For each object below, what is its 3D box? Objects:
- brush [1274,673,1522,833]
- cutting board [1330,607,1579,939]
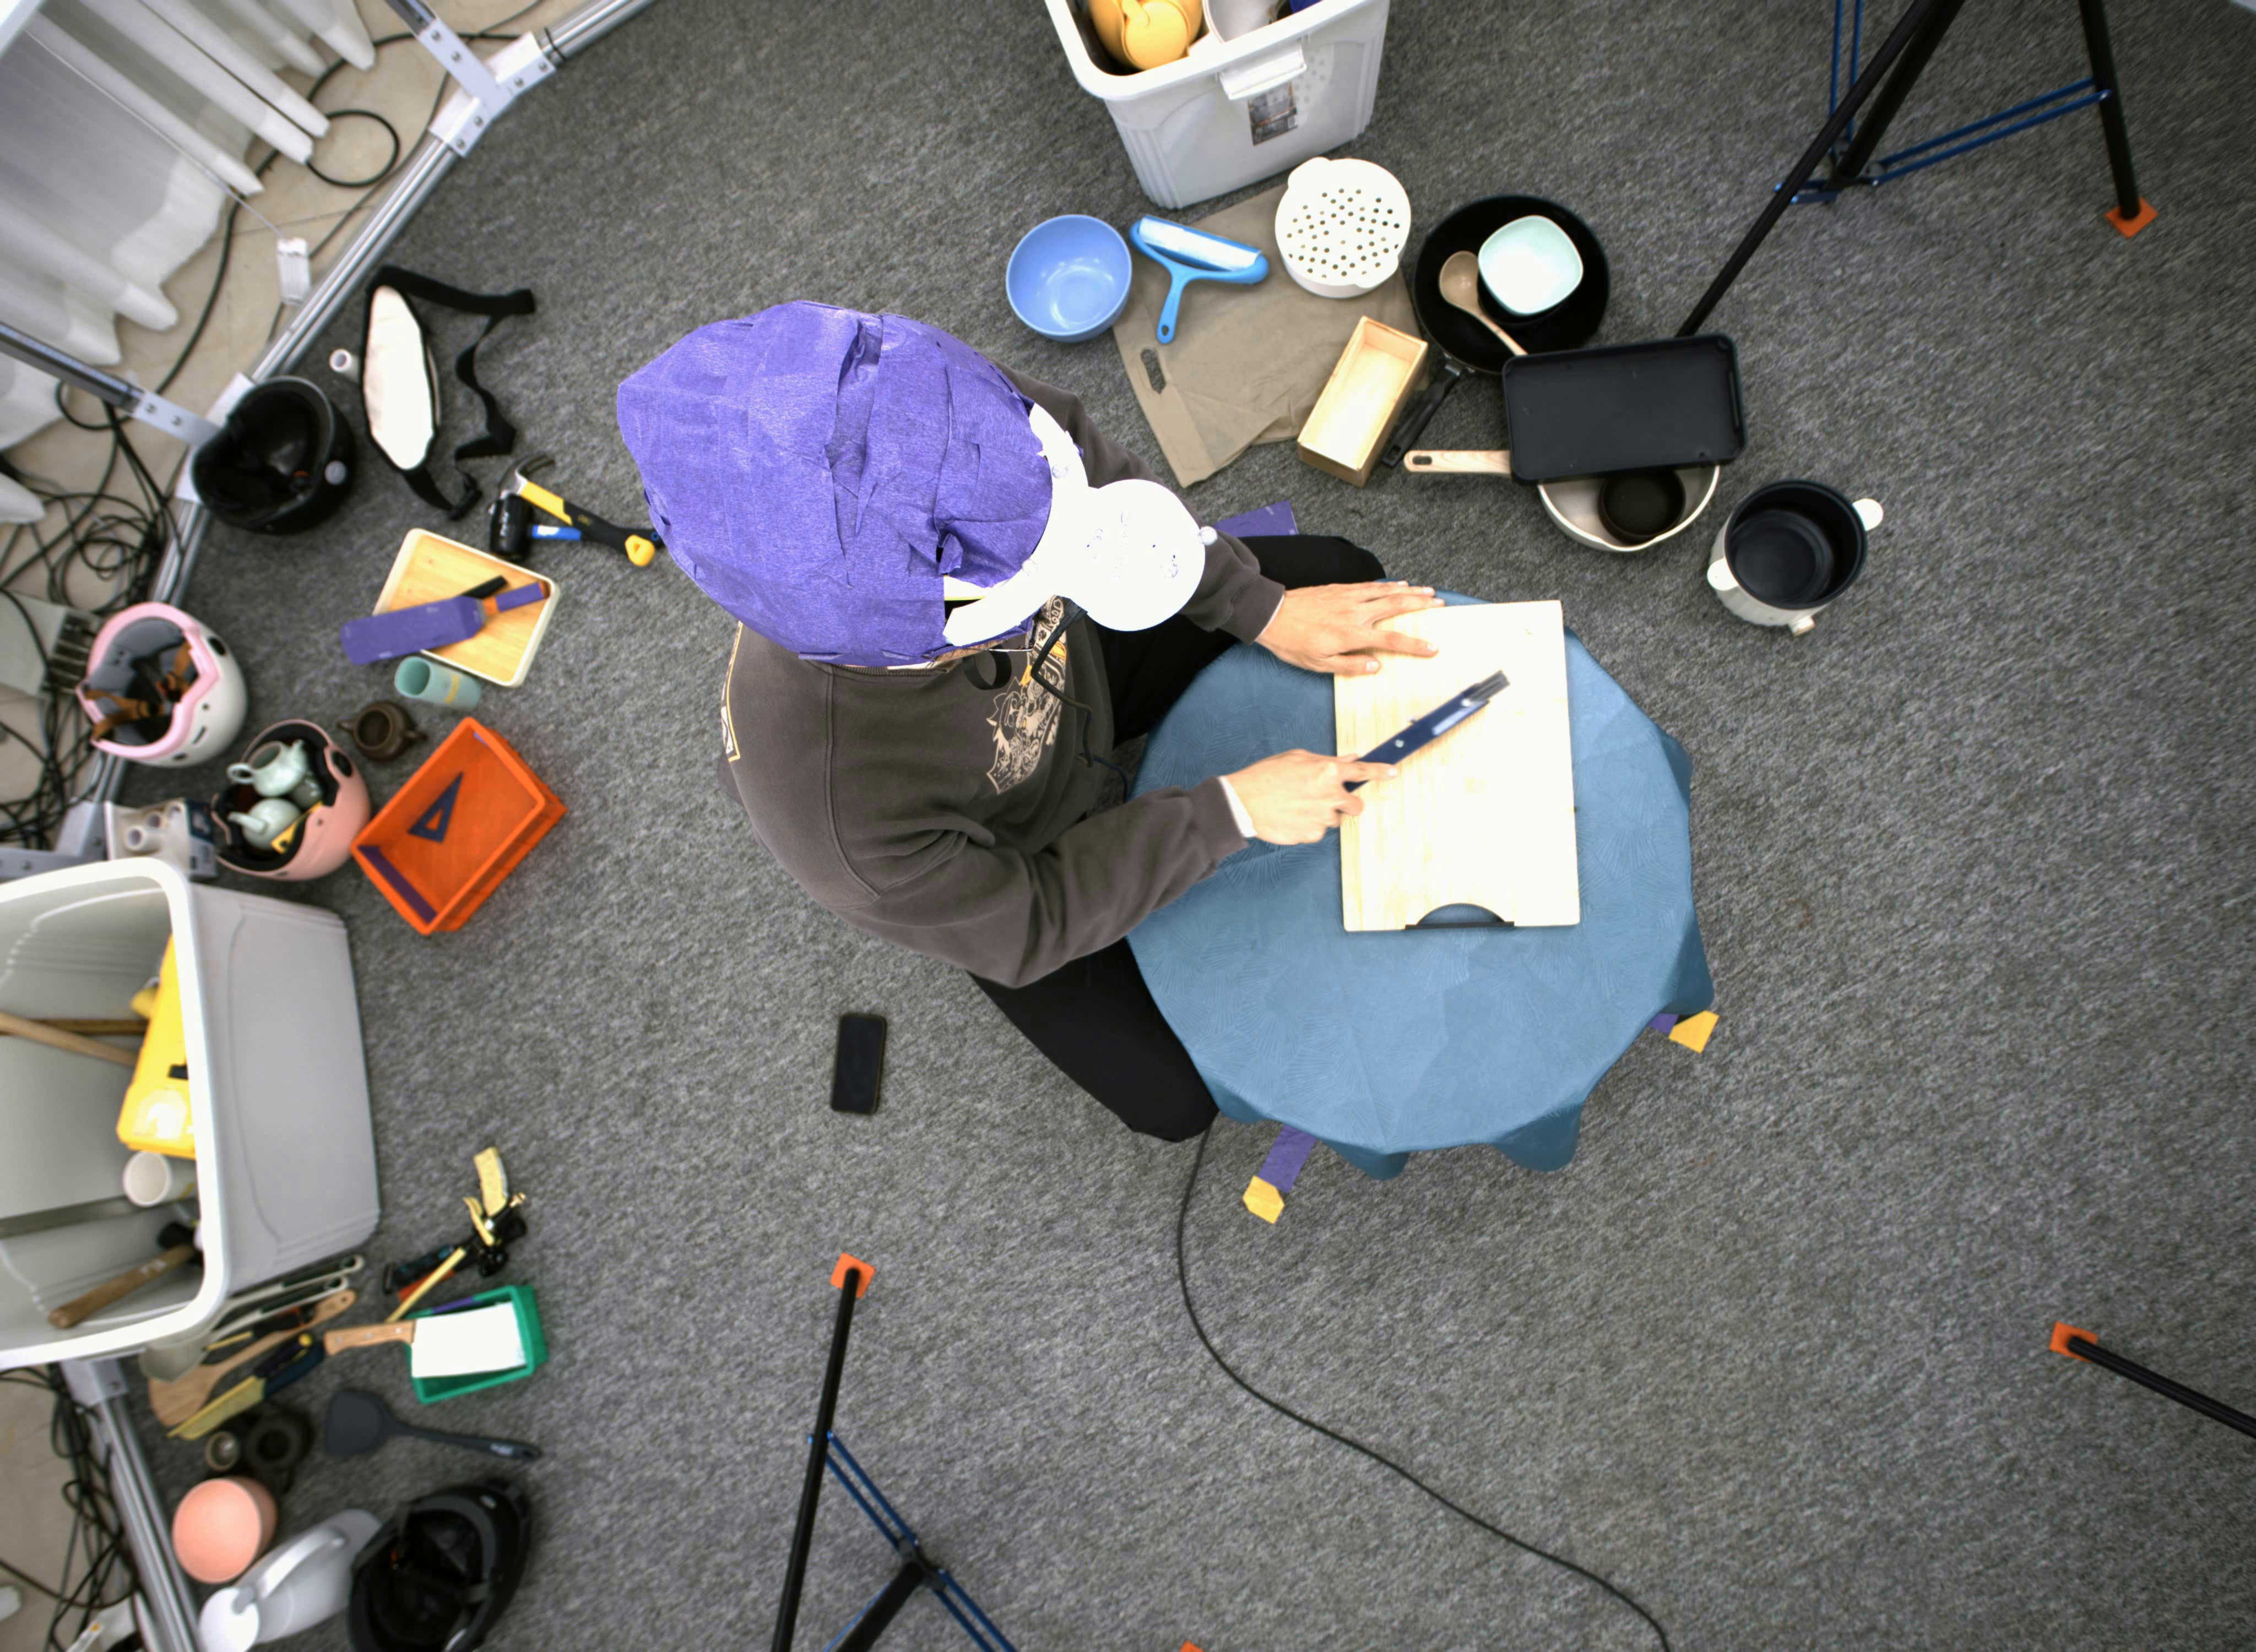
[{"bbox_3d":[0.267,-0.077,1.361,0.270,0.097,0.033,-31,91,-21],"label":"brush"},{"bbox_3d":[0.340,-0.059,1.443,0.252,0.023,0.347,-3,87,11],"label":"cutting board"}]
